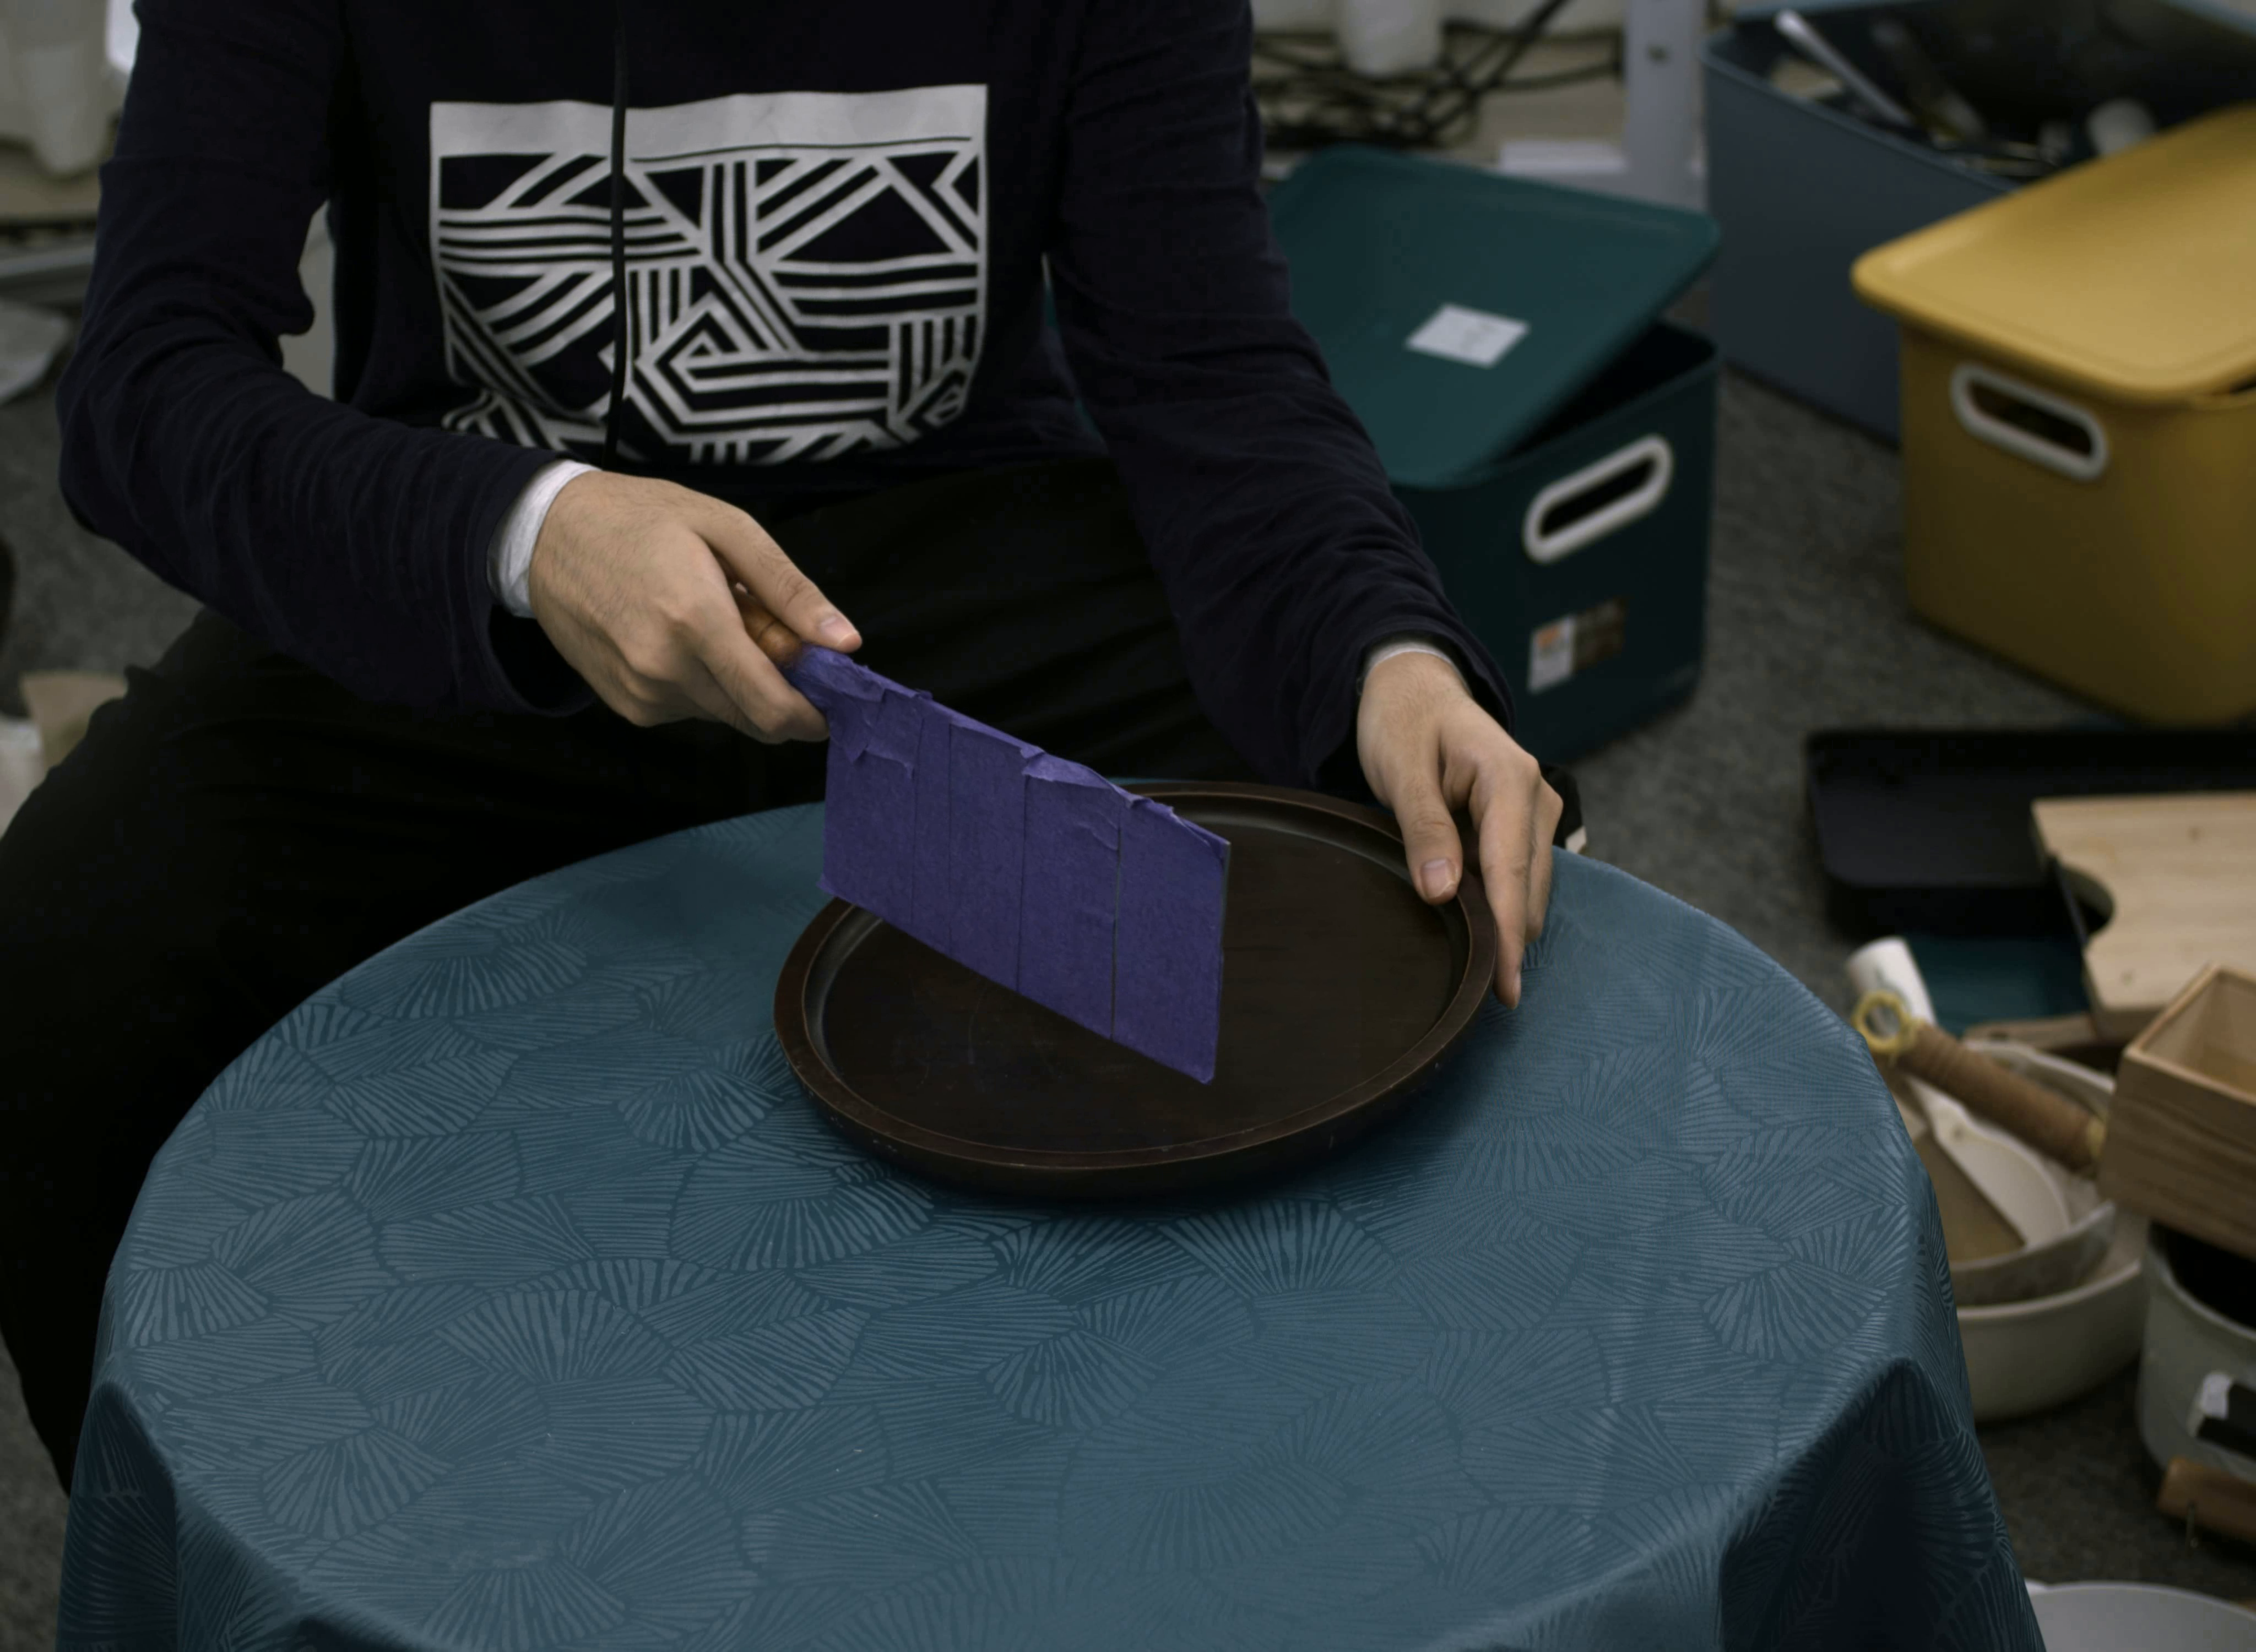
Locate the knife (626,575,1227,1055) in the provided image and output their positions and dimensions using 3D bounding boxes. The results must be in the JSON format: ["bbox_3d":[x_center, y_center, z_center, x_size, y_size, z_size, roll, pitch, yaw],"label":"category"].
[{"bbox_3d":[-0.074,-0.003,1.944,0.032,0.103,0.315,-10,24,-39],"label":"knife"}]

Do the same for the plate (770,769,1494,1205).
[{"bbox_3d":[0.002,0.056,1.946,0.253,0.029,0.259,-6,30,4],"label":"plate"}]
